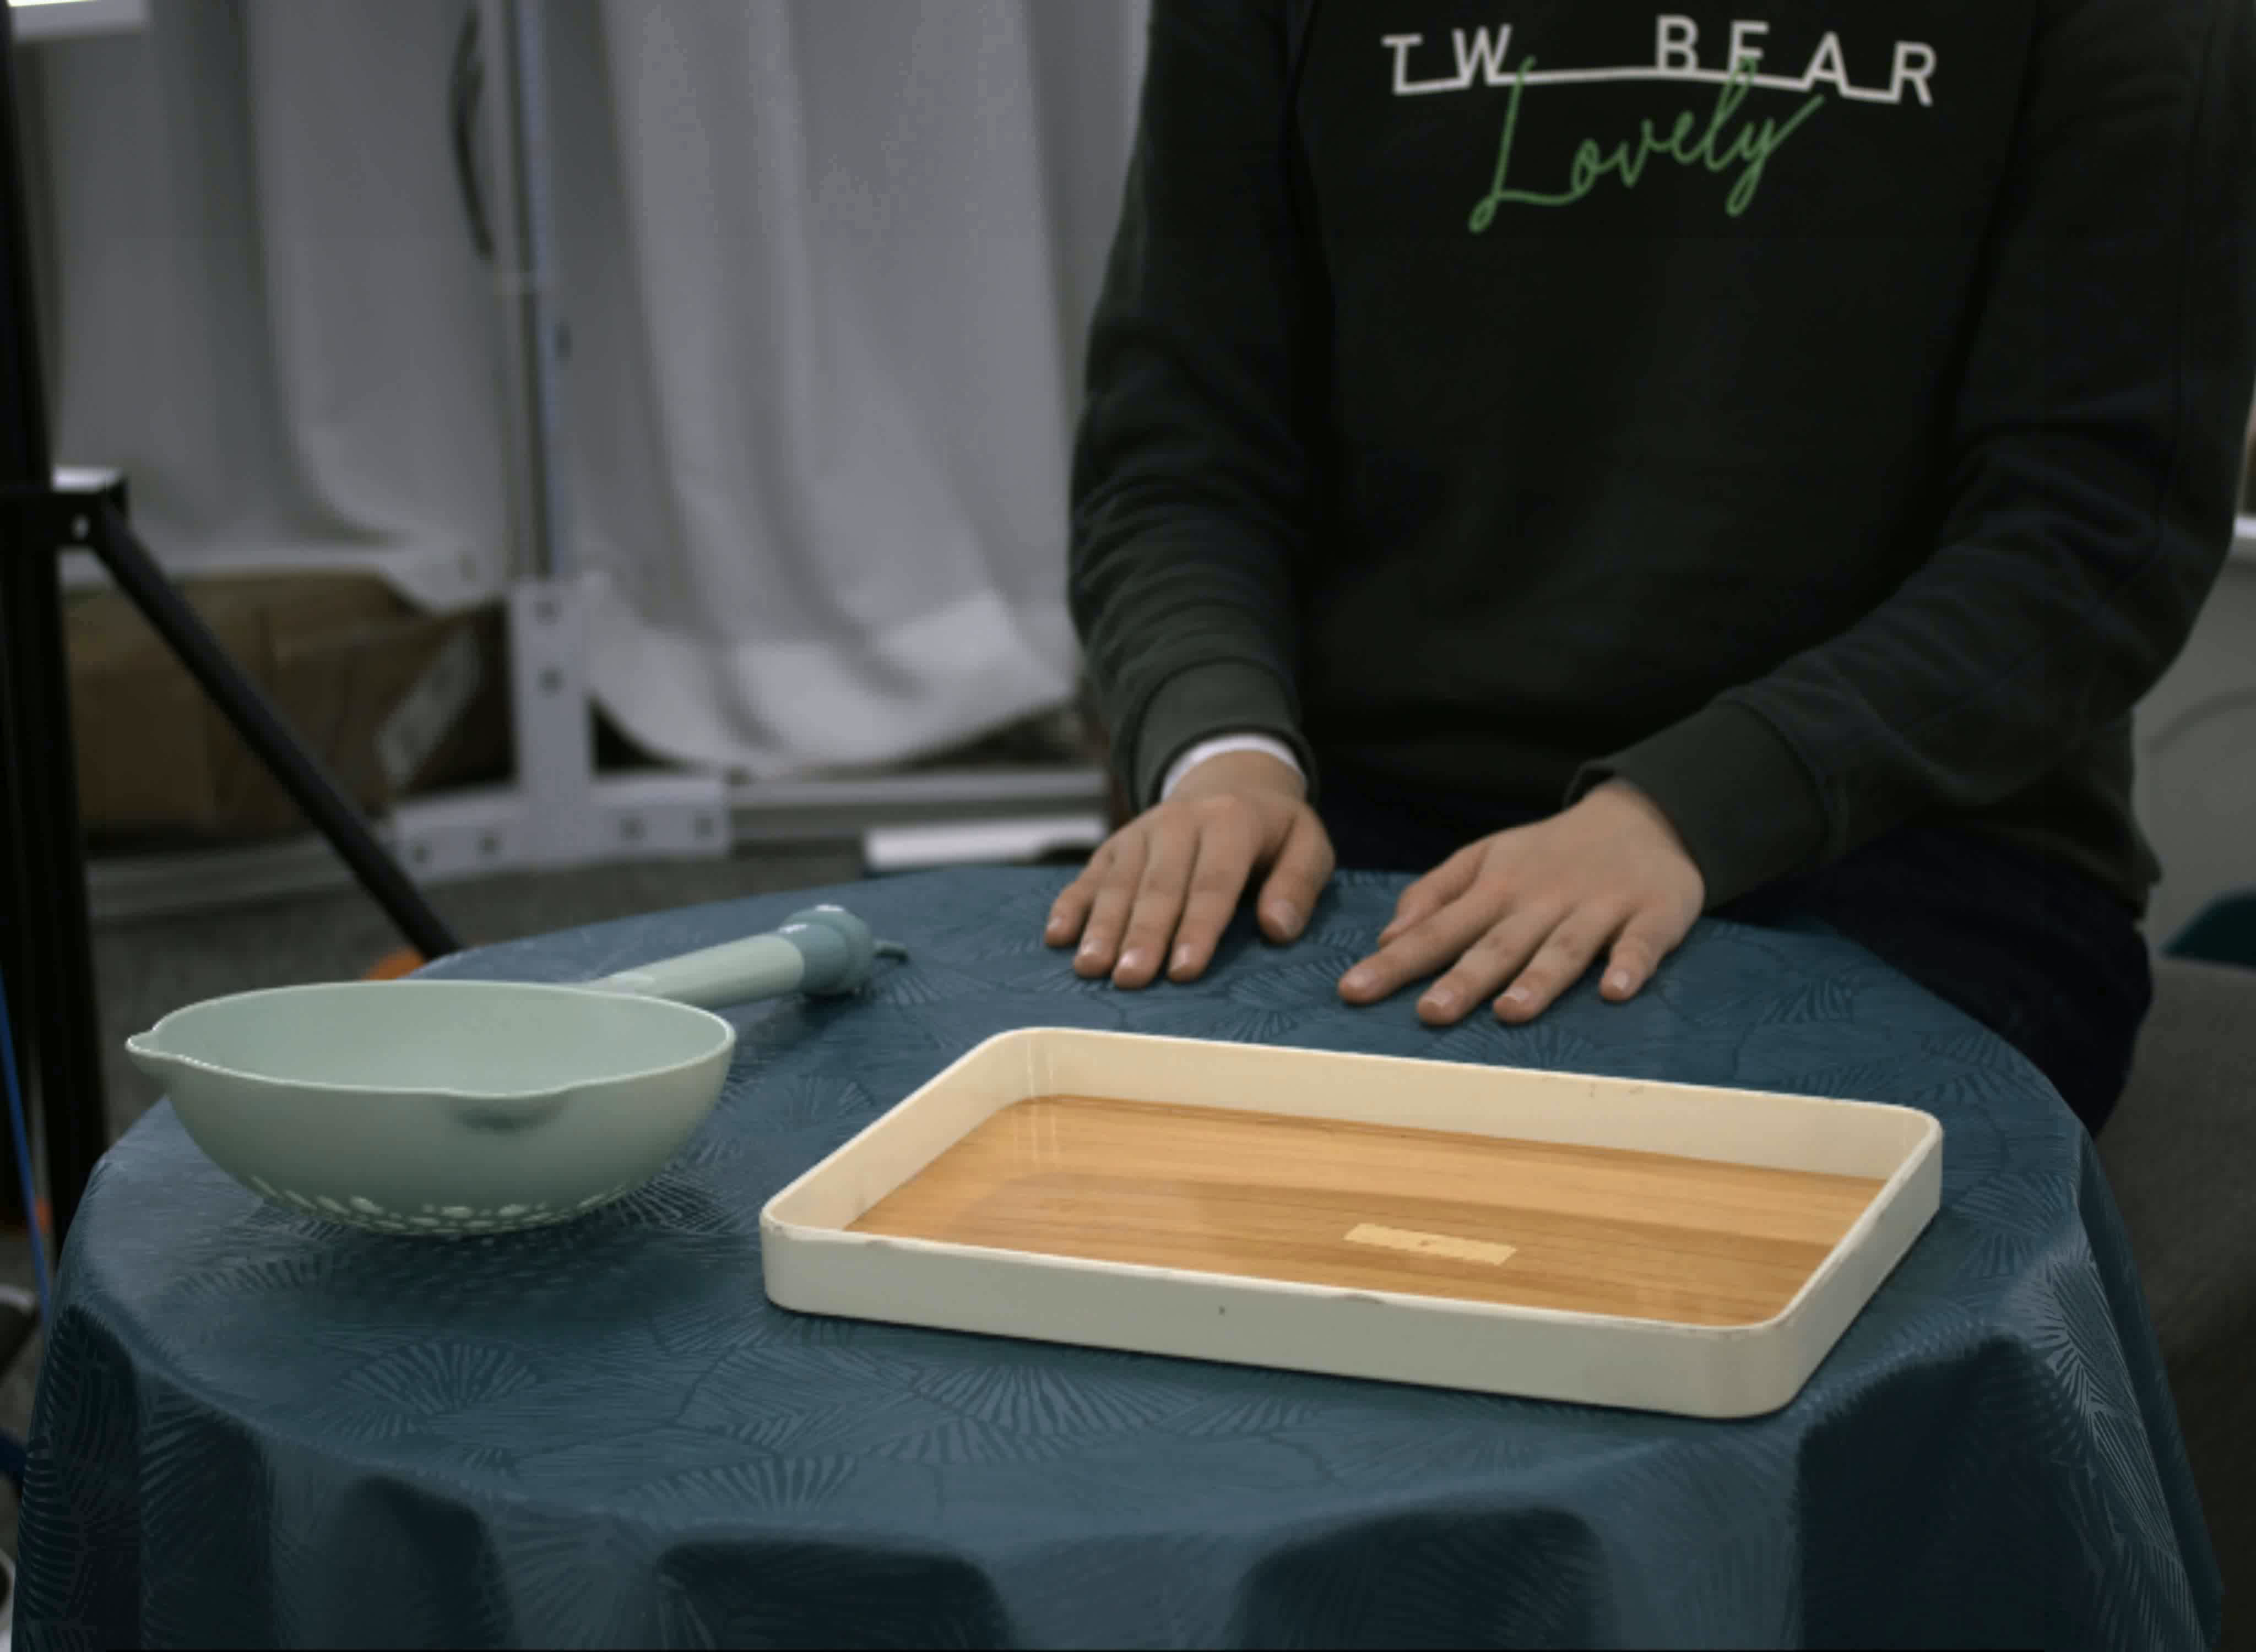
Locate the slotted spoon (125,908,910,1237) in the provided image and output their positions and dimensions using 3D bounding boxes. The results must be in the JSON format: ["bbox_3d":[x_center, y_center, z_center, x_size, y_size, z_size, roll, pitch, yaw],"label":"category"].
[{"bbox_3d":[-0.157,0.060,1.636,0.172,0.075,0.353,6,18,25],"label":"slotted spoon"}]

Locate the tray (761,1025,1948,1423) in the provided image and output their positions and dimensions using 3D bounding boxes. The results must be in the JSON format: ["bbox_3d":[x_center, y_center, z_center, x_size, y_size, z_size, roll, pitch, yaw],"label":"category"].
[{"bbox_3d":[0.066,0.109,1.496,0.304,0.027,0.189,5,17,24],"label":"tray"}]
